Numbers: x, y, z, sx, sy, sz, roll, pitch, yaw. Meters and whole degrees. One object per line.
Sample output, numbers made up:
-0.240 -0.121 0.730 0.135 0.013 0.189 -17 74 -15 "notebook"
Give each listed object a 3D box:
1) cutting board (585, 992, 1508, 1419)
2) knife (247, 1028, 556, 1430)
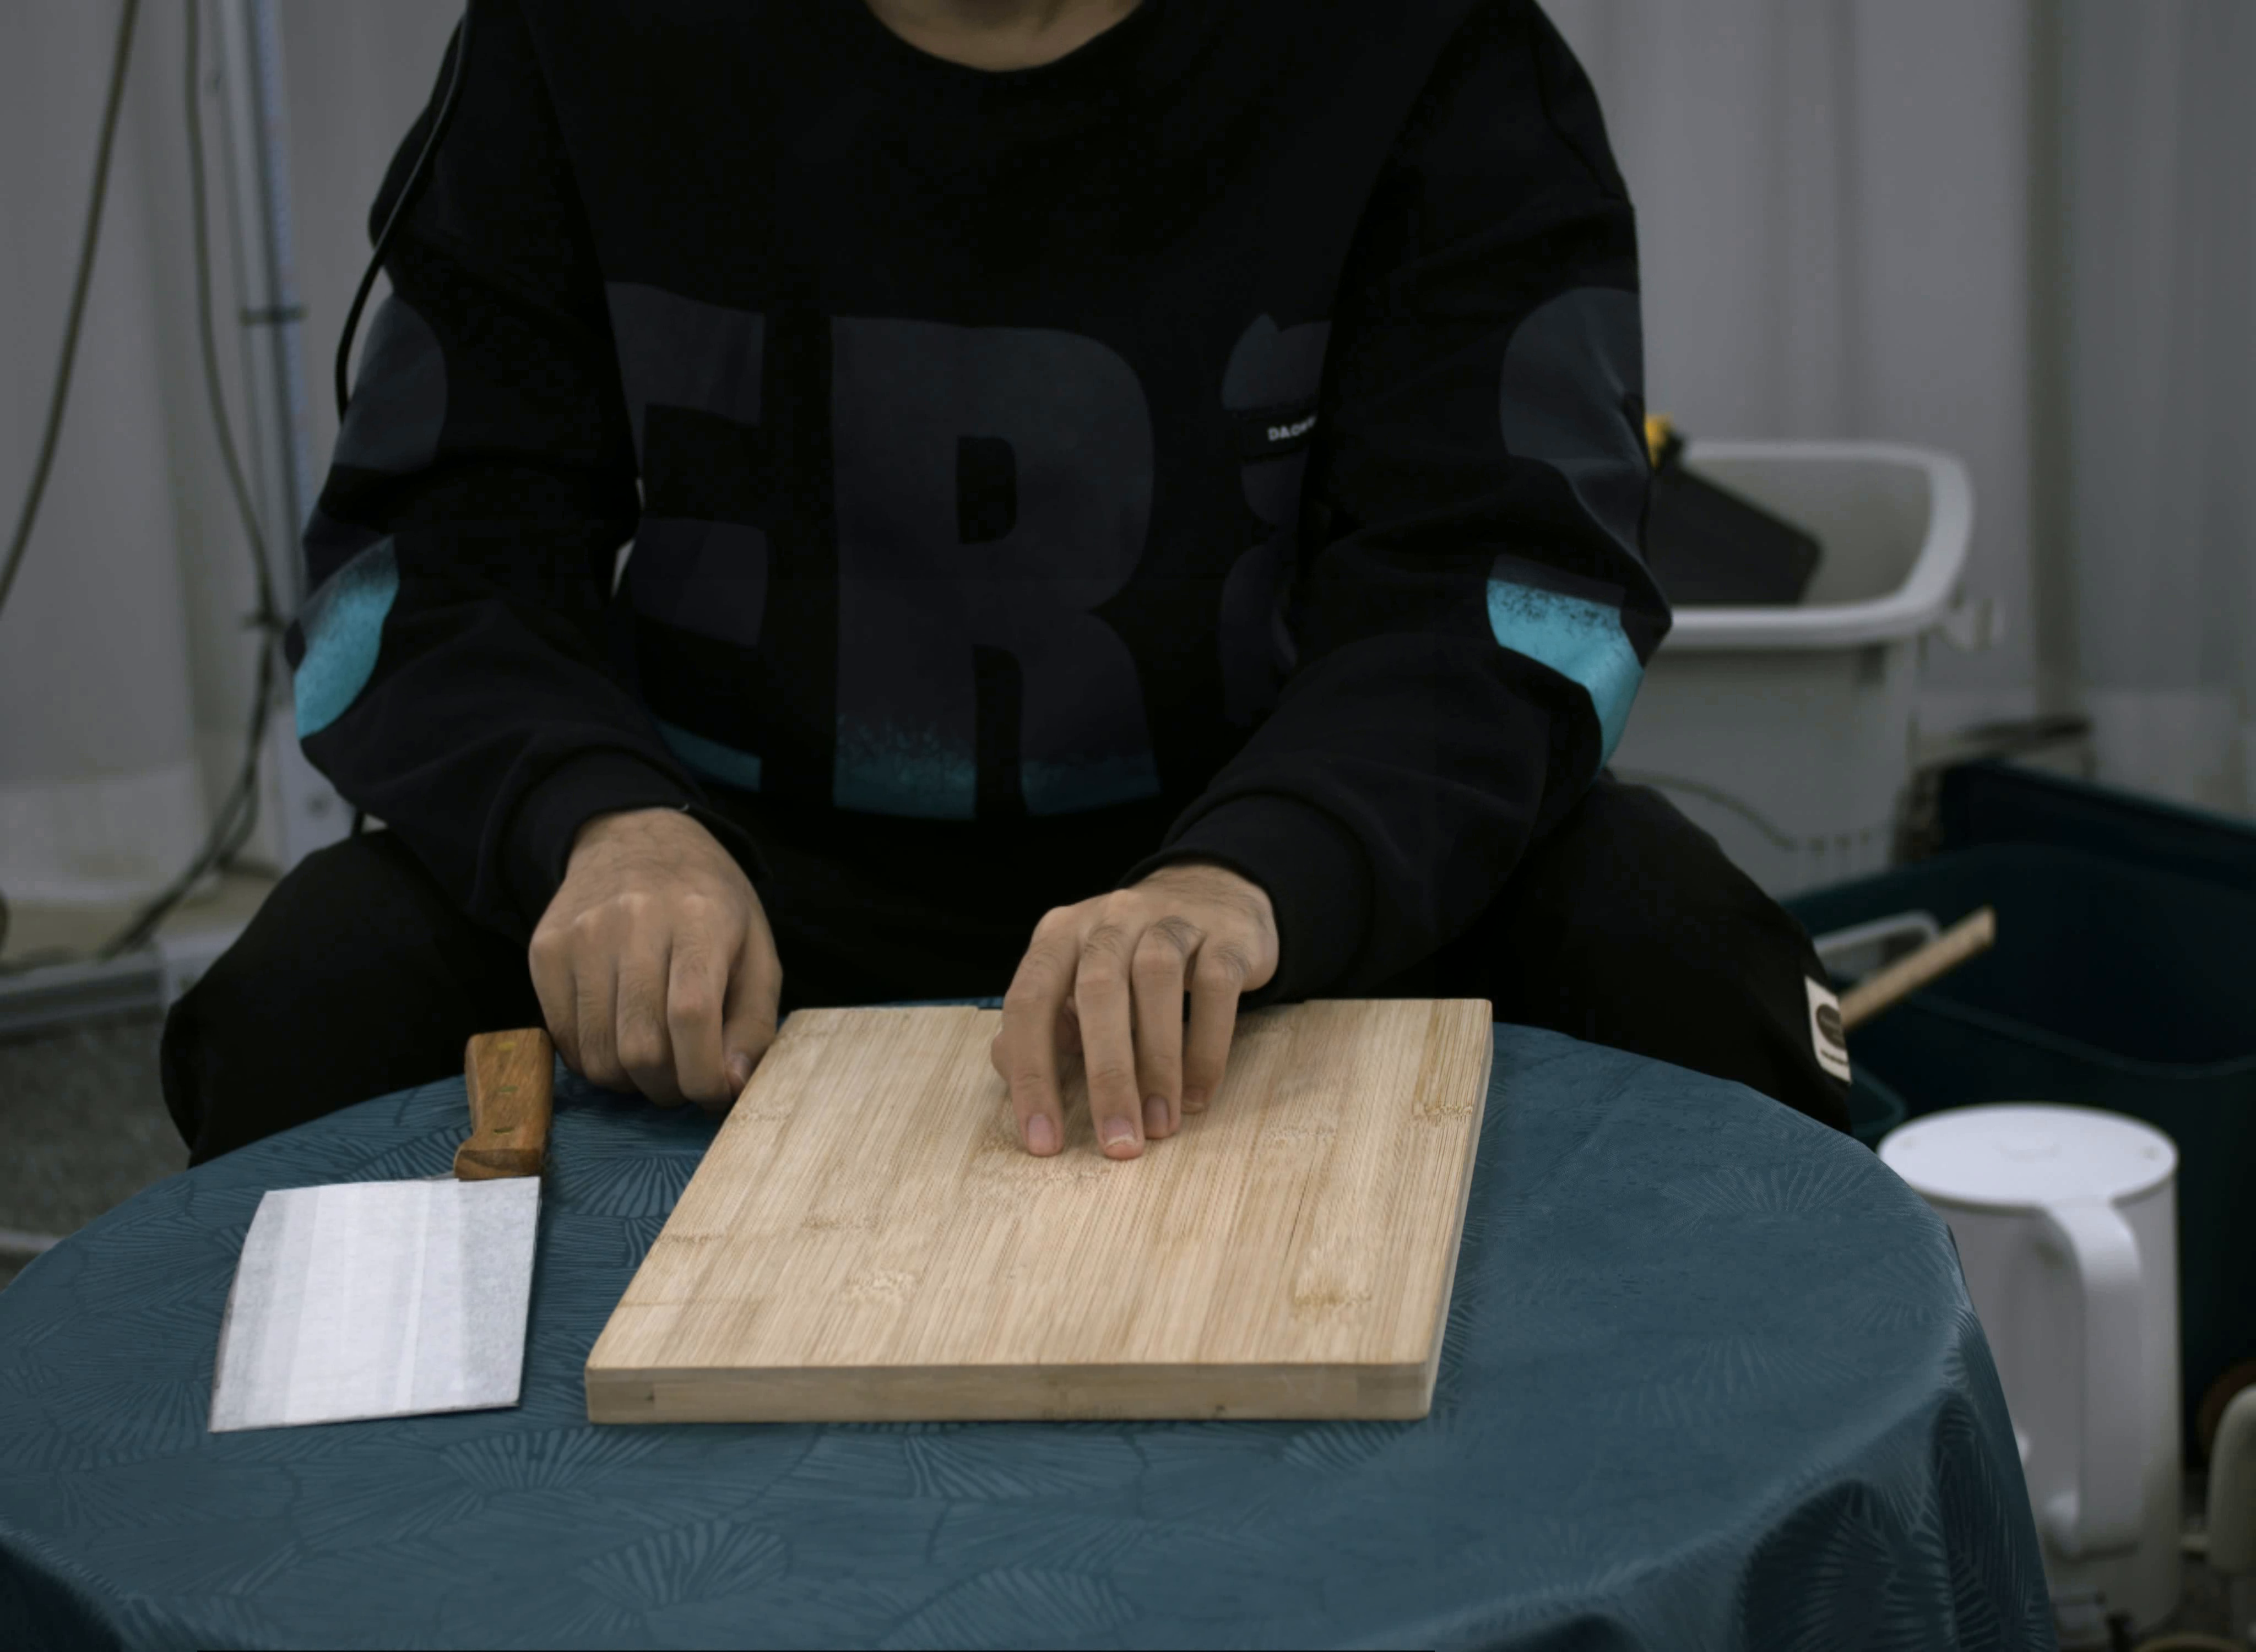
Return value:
-0.013 0.113 1.692 0.250 0.023 0.351 -1 15 6 "cutting board"
-0.225 0.124 1.698 0.092 0.021 0.308 -6 17 -2 "knife"
